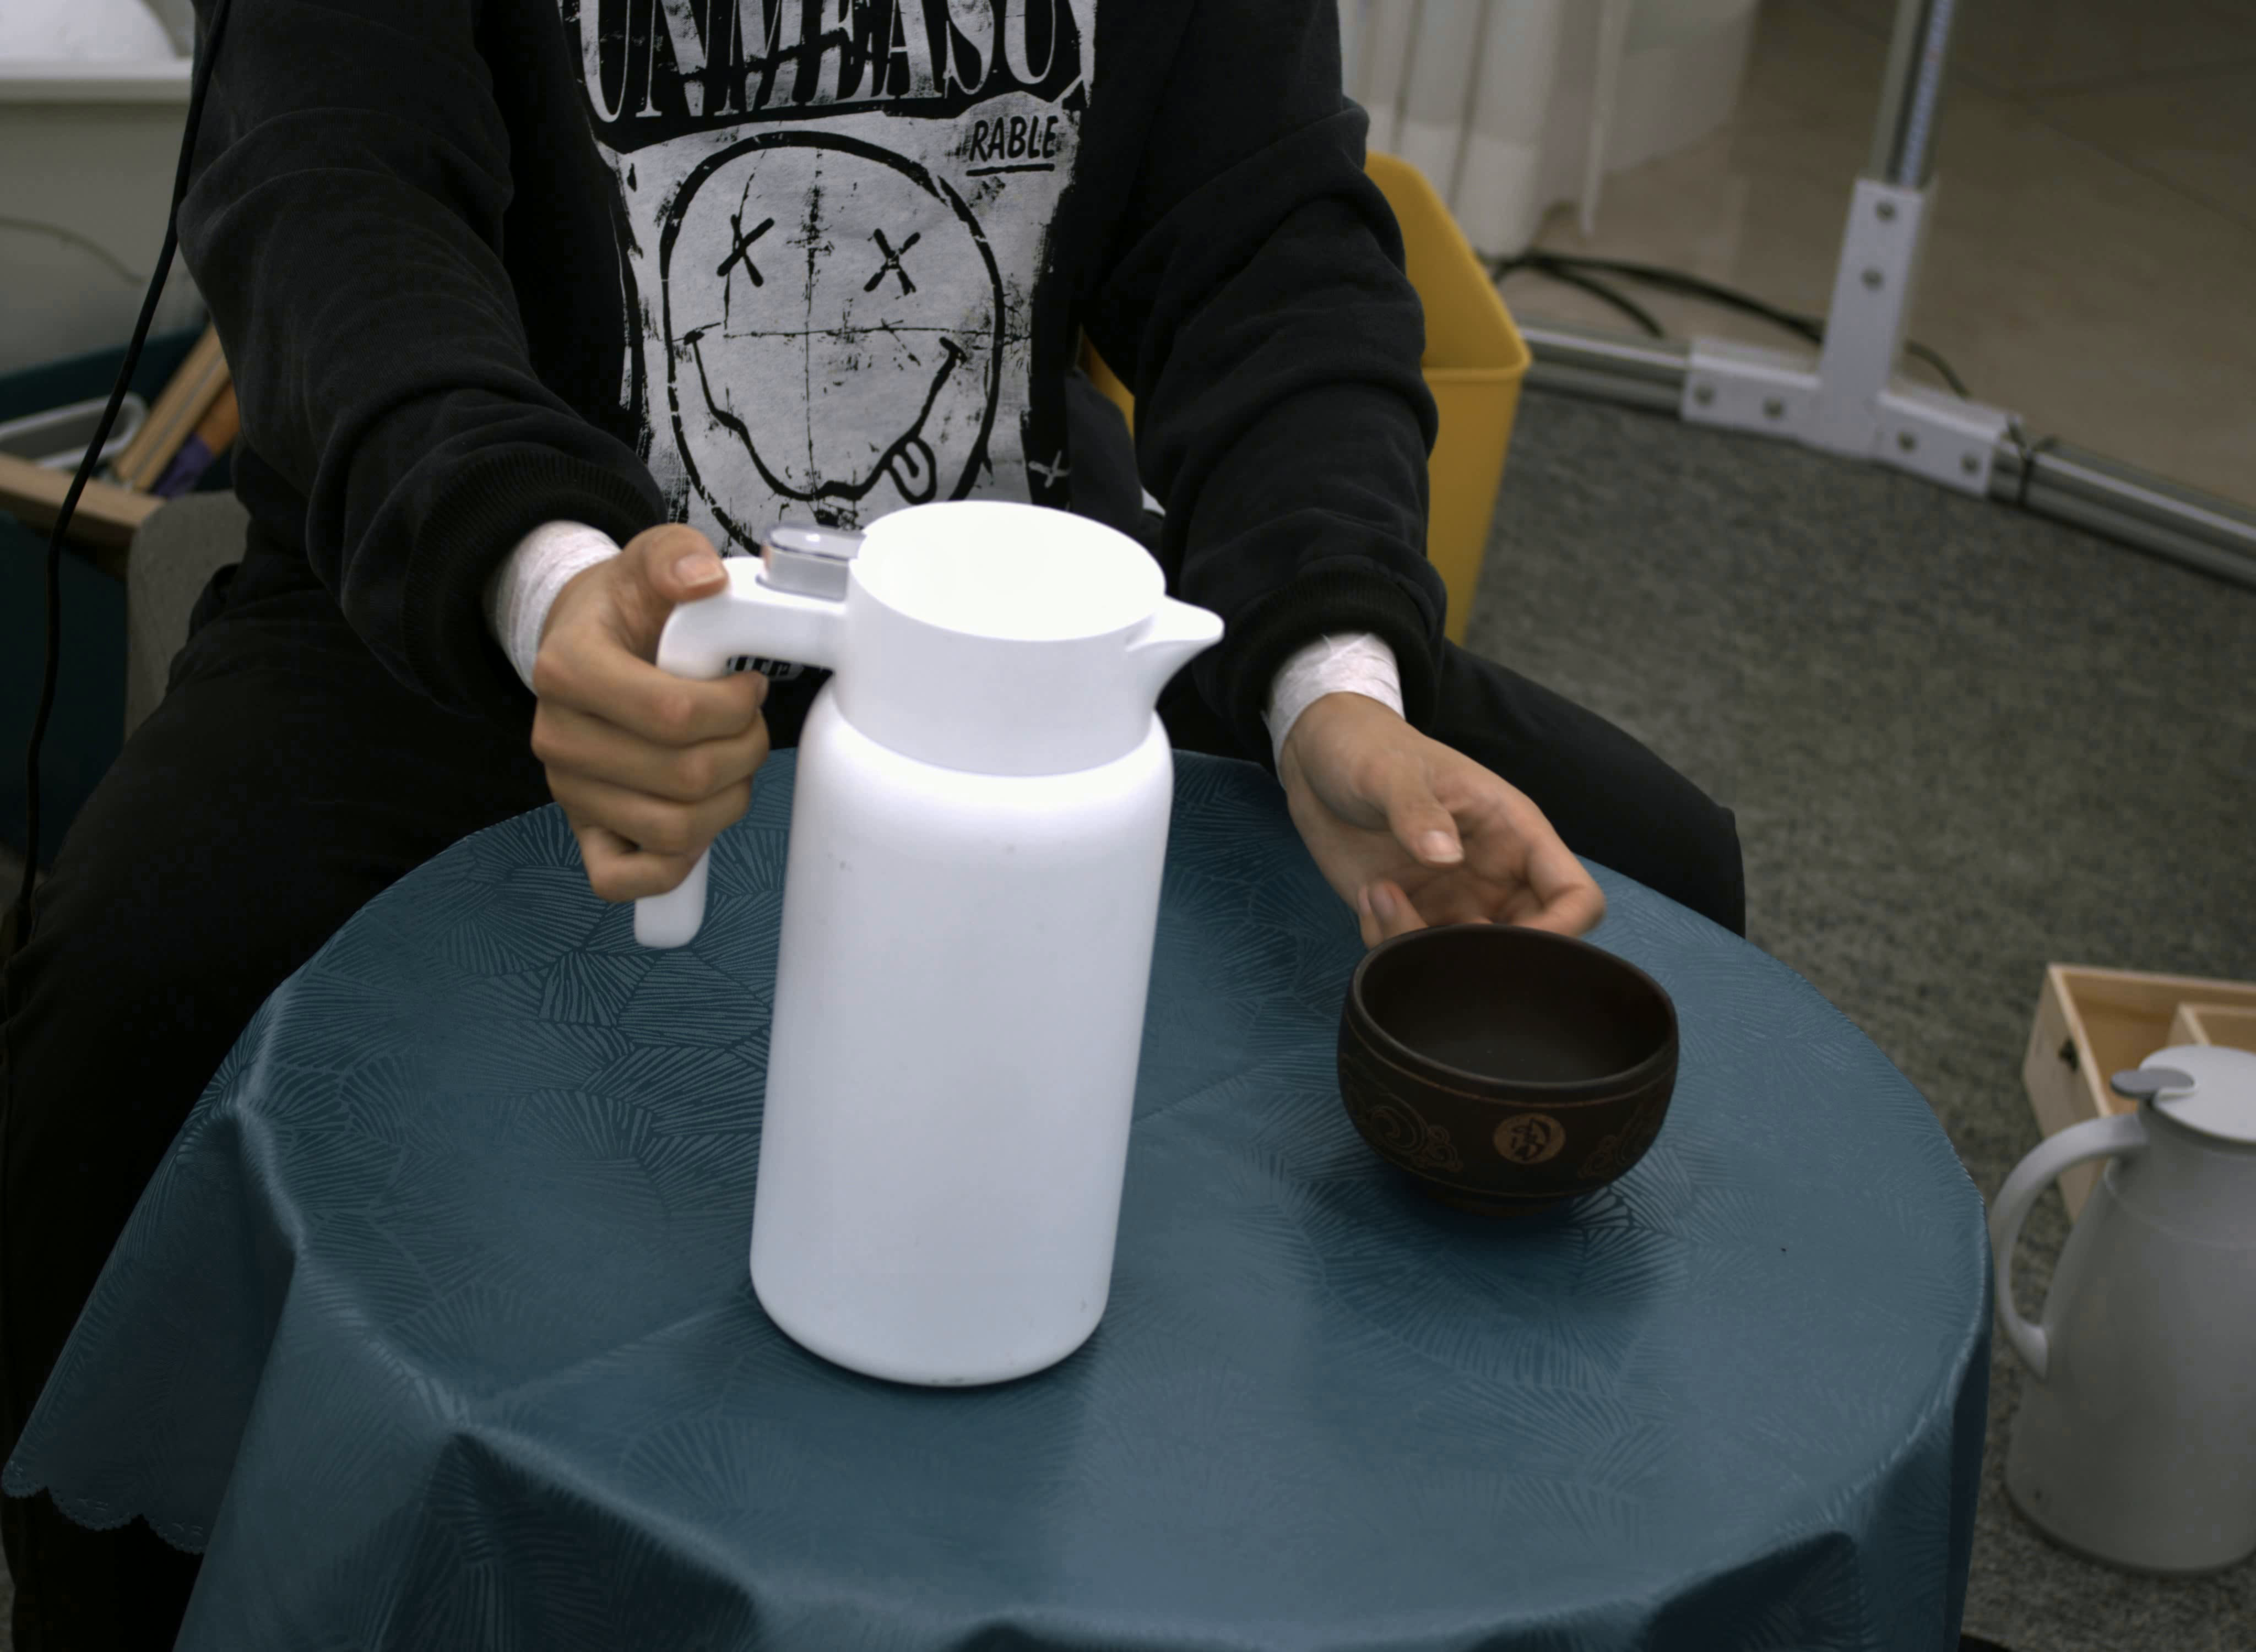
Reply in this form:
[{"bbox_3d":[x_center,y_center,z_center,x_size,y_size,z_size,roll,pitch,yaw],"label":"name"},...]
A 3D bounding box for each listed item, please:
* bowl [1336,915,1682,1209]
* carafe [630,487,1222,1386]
[{"bbox_3d":[0.128,0.088,1.823,0.117,0.069,0.119,4,27,-3],"label":"bowl"},{"bbox_3d":[-0.070,0.034,1.671,0.172,0.268,0.124,9,28,3],"label":"carafe"}]
